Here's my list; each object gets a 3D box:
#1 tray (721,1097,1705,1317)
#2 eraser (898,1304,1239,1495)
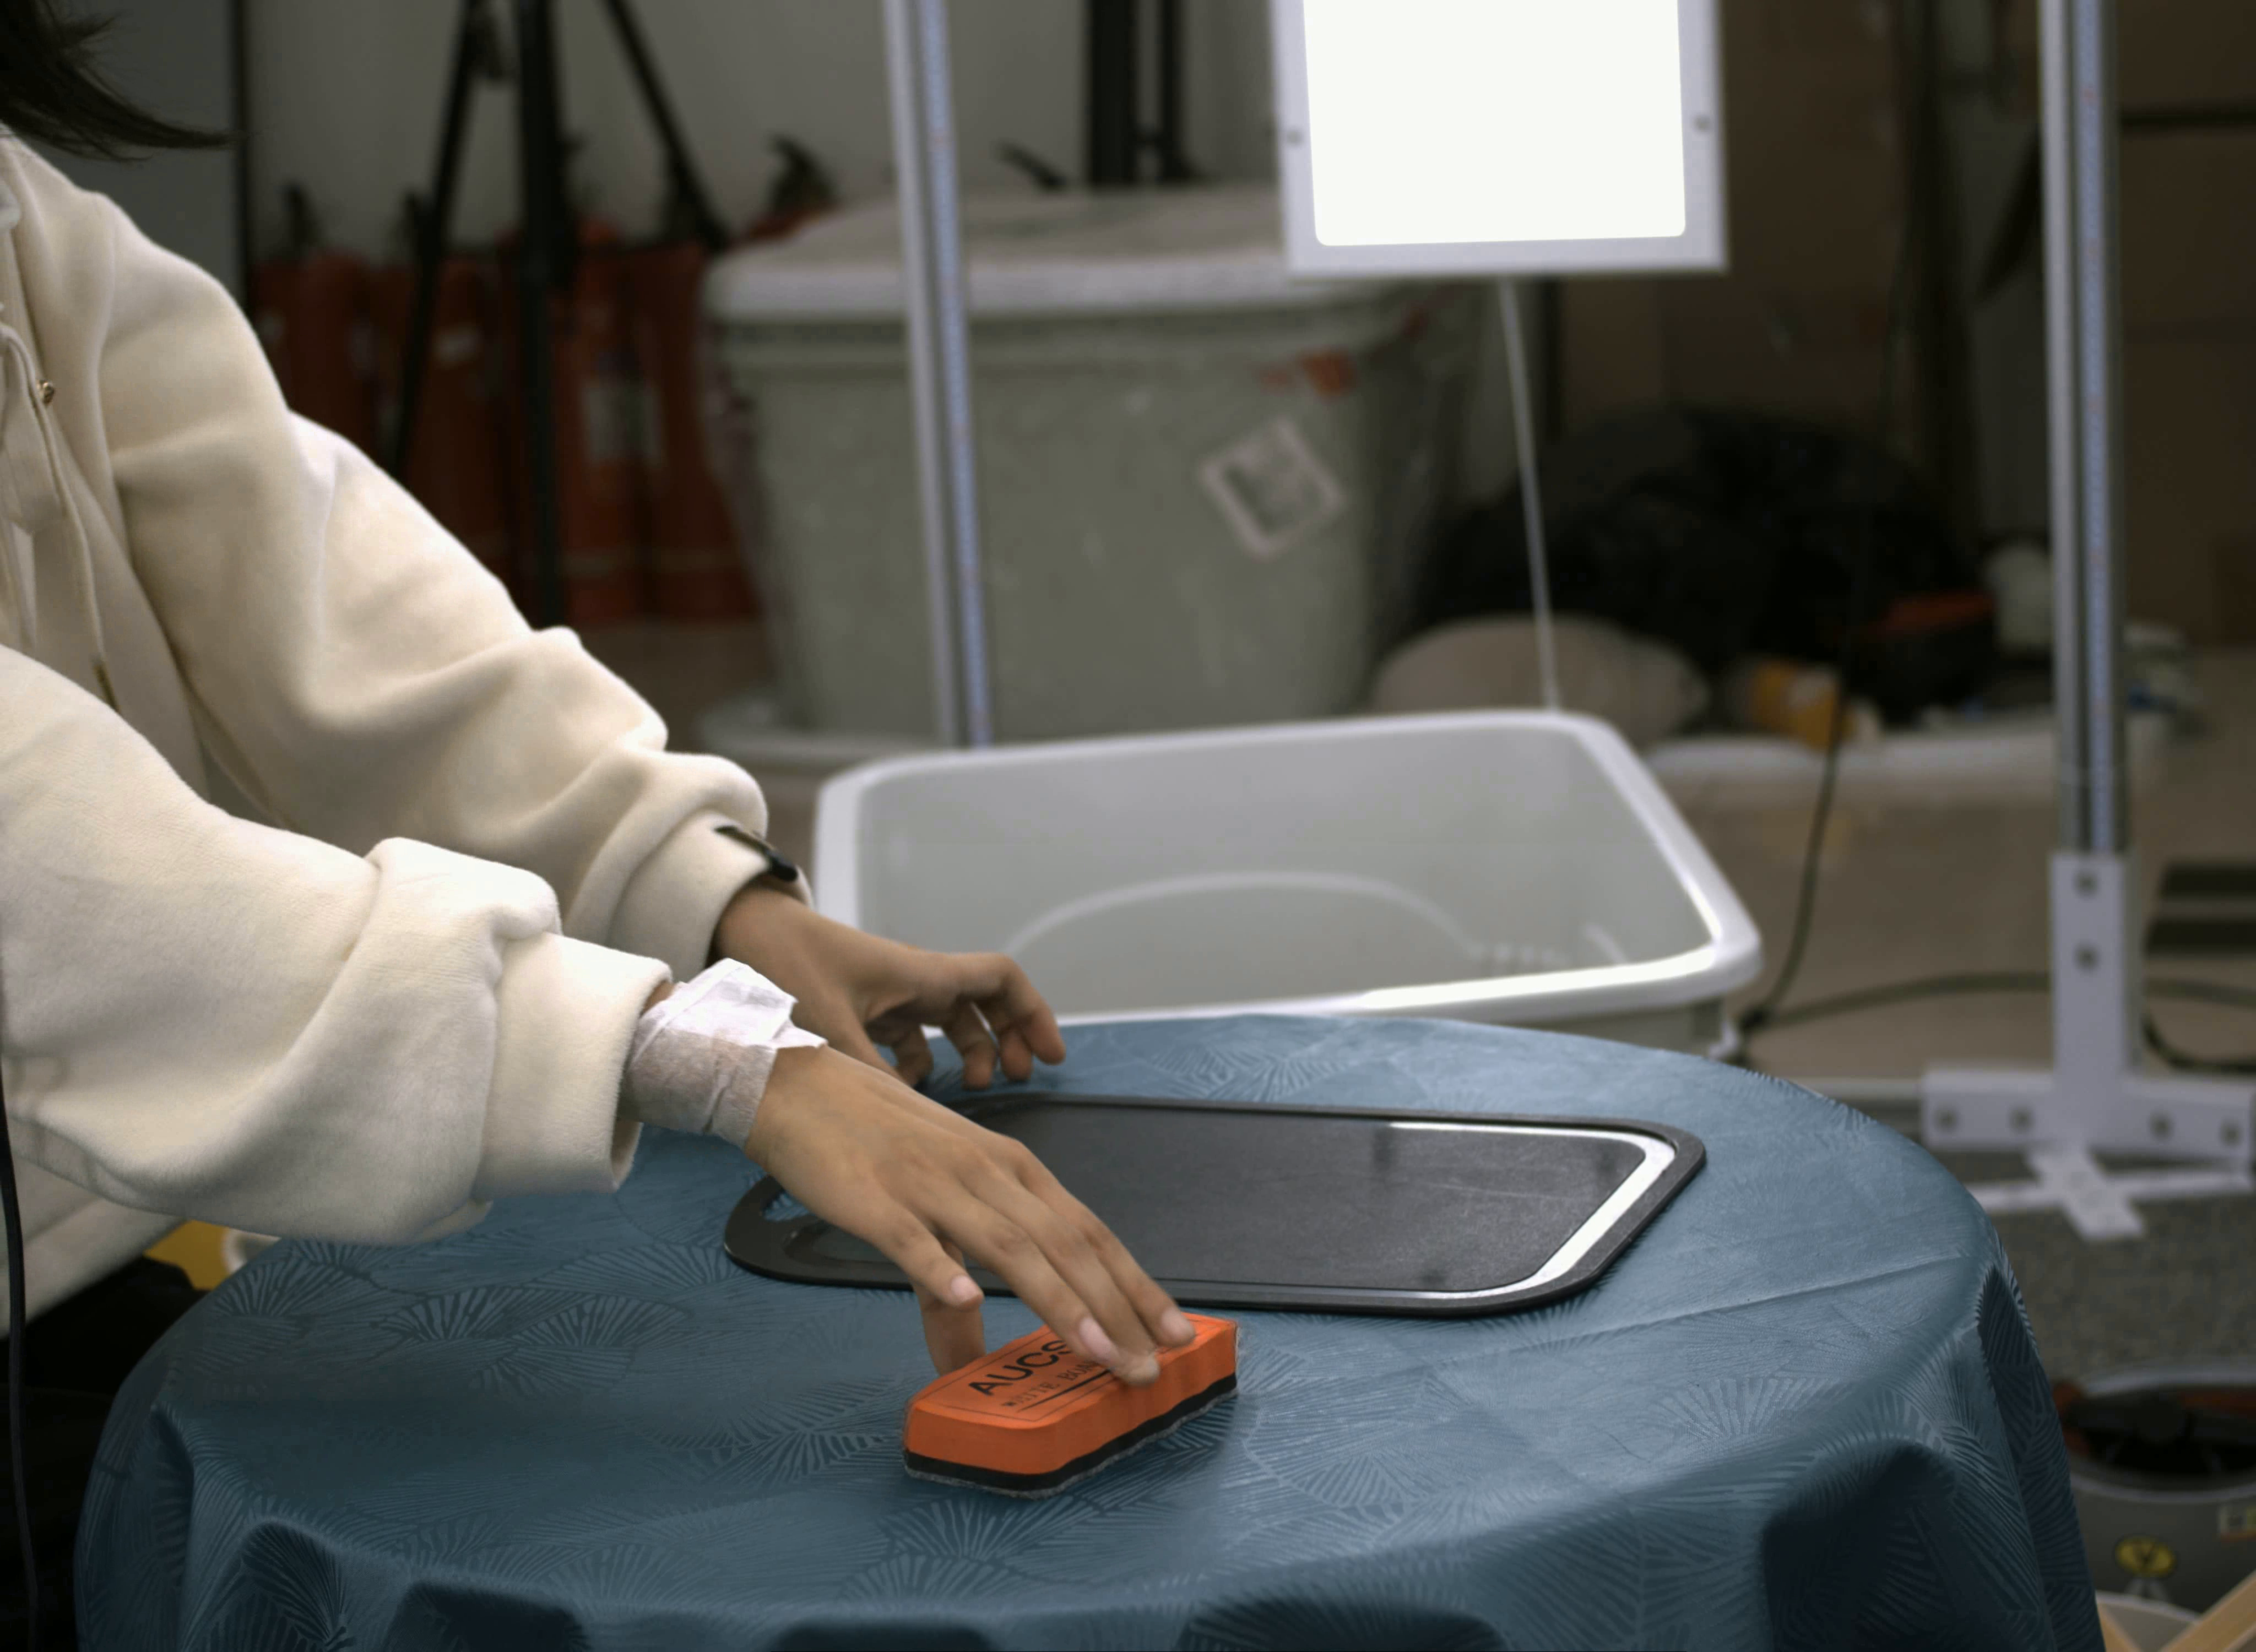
[{"bbox_3d":[0.023,0.126,1.880,0.330,0.010,0.207,1,15,24],"label":"tray"},{"bbox_3d":[-0.017,0.173,1.667,0.060,0.023,0.105,6,17,37],"label":"eraser"}]
